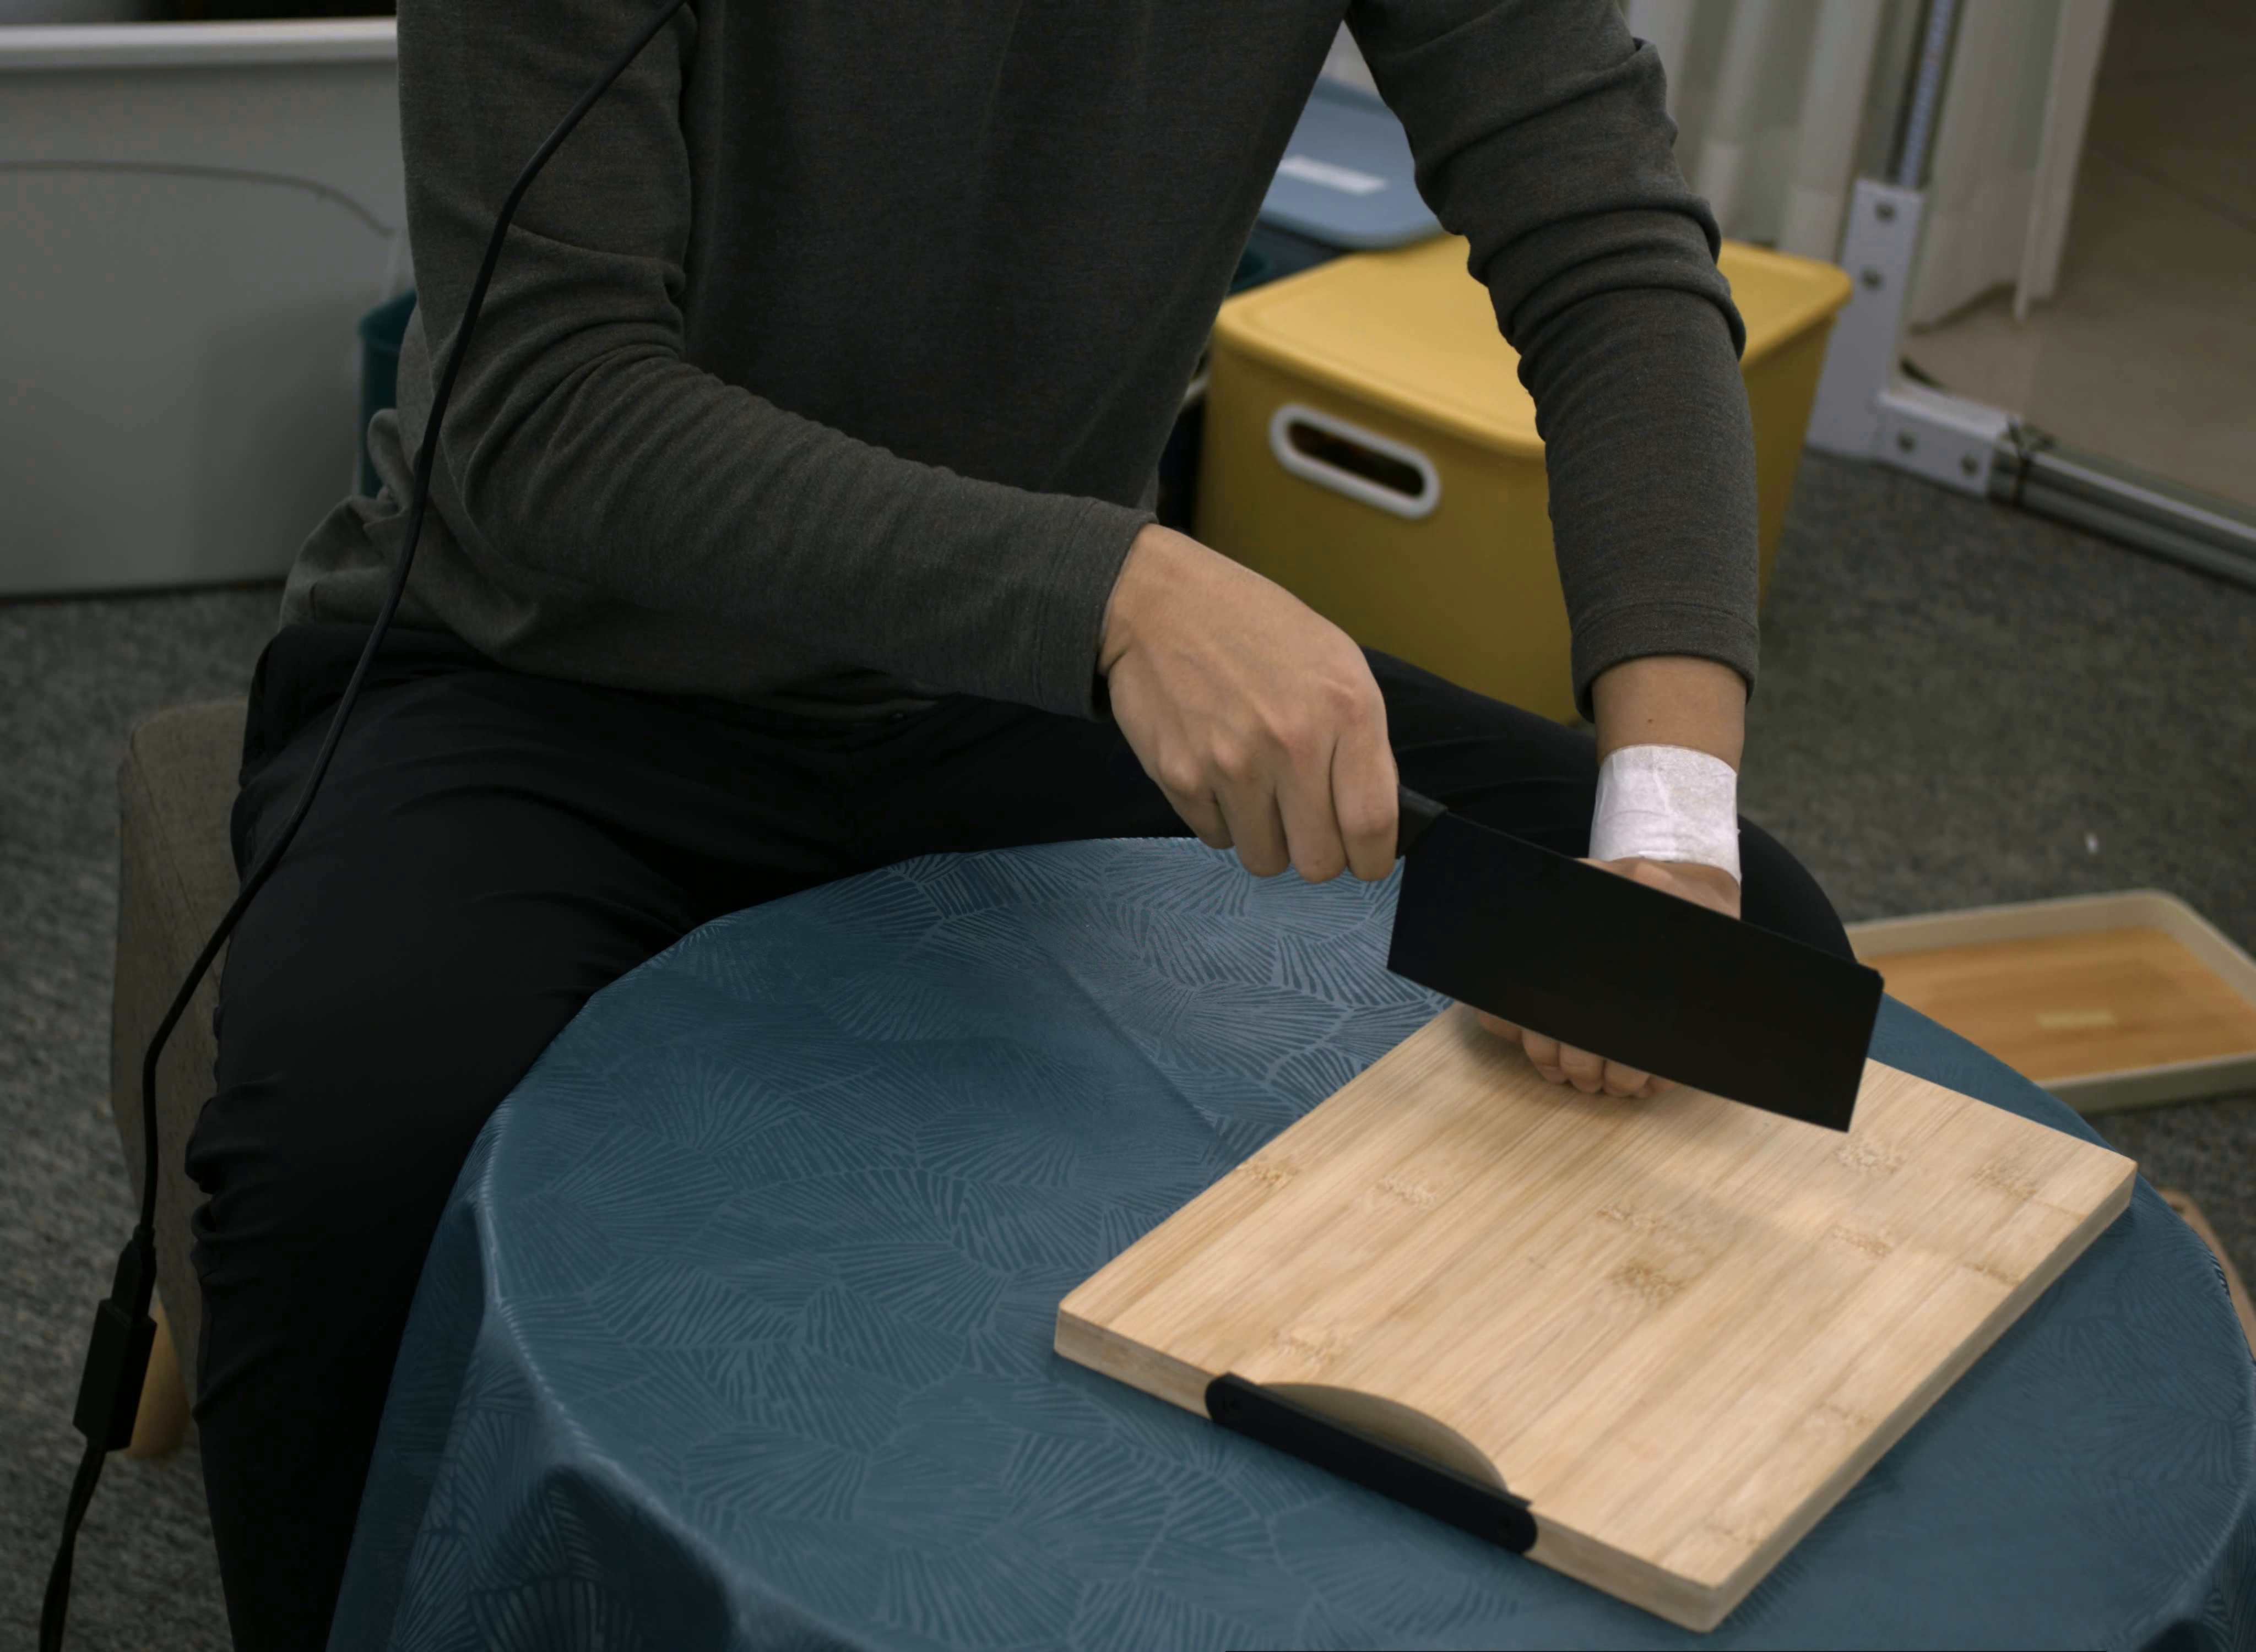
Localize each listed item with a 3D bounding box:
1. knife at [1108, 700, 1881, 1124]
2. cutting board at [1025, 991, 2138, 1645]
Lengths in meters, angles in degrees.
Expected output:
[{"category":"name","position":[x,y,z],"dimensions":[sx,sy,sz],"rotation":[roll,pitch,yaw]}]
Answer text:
[{"category":"knife","position":[0.122,0.025,1.843],"dimensions":[0.304,0.081,0.021],"rotation":[25,25,25]},{"category":"cutting board","position":[0.161,0.145,1.782],"dimensions":[0.252,0.023,0.348],"rotation":[20,29,26]}]
